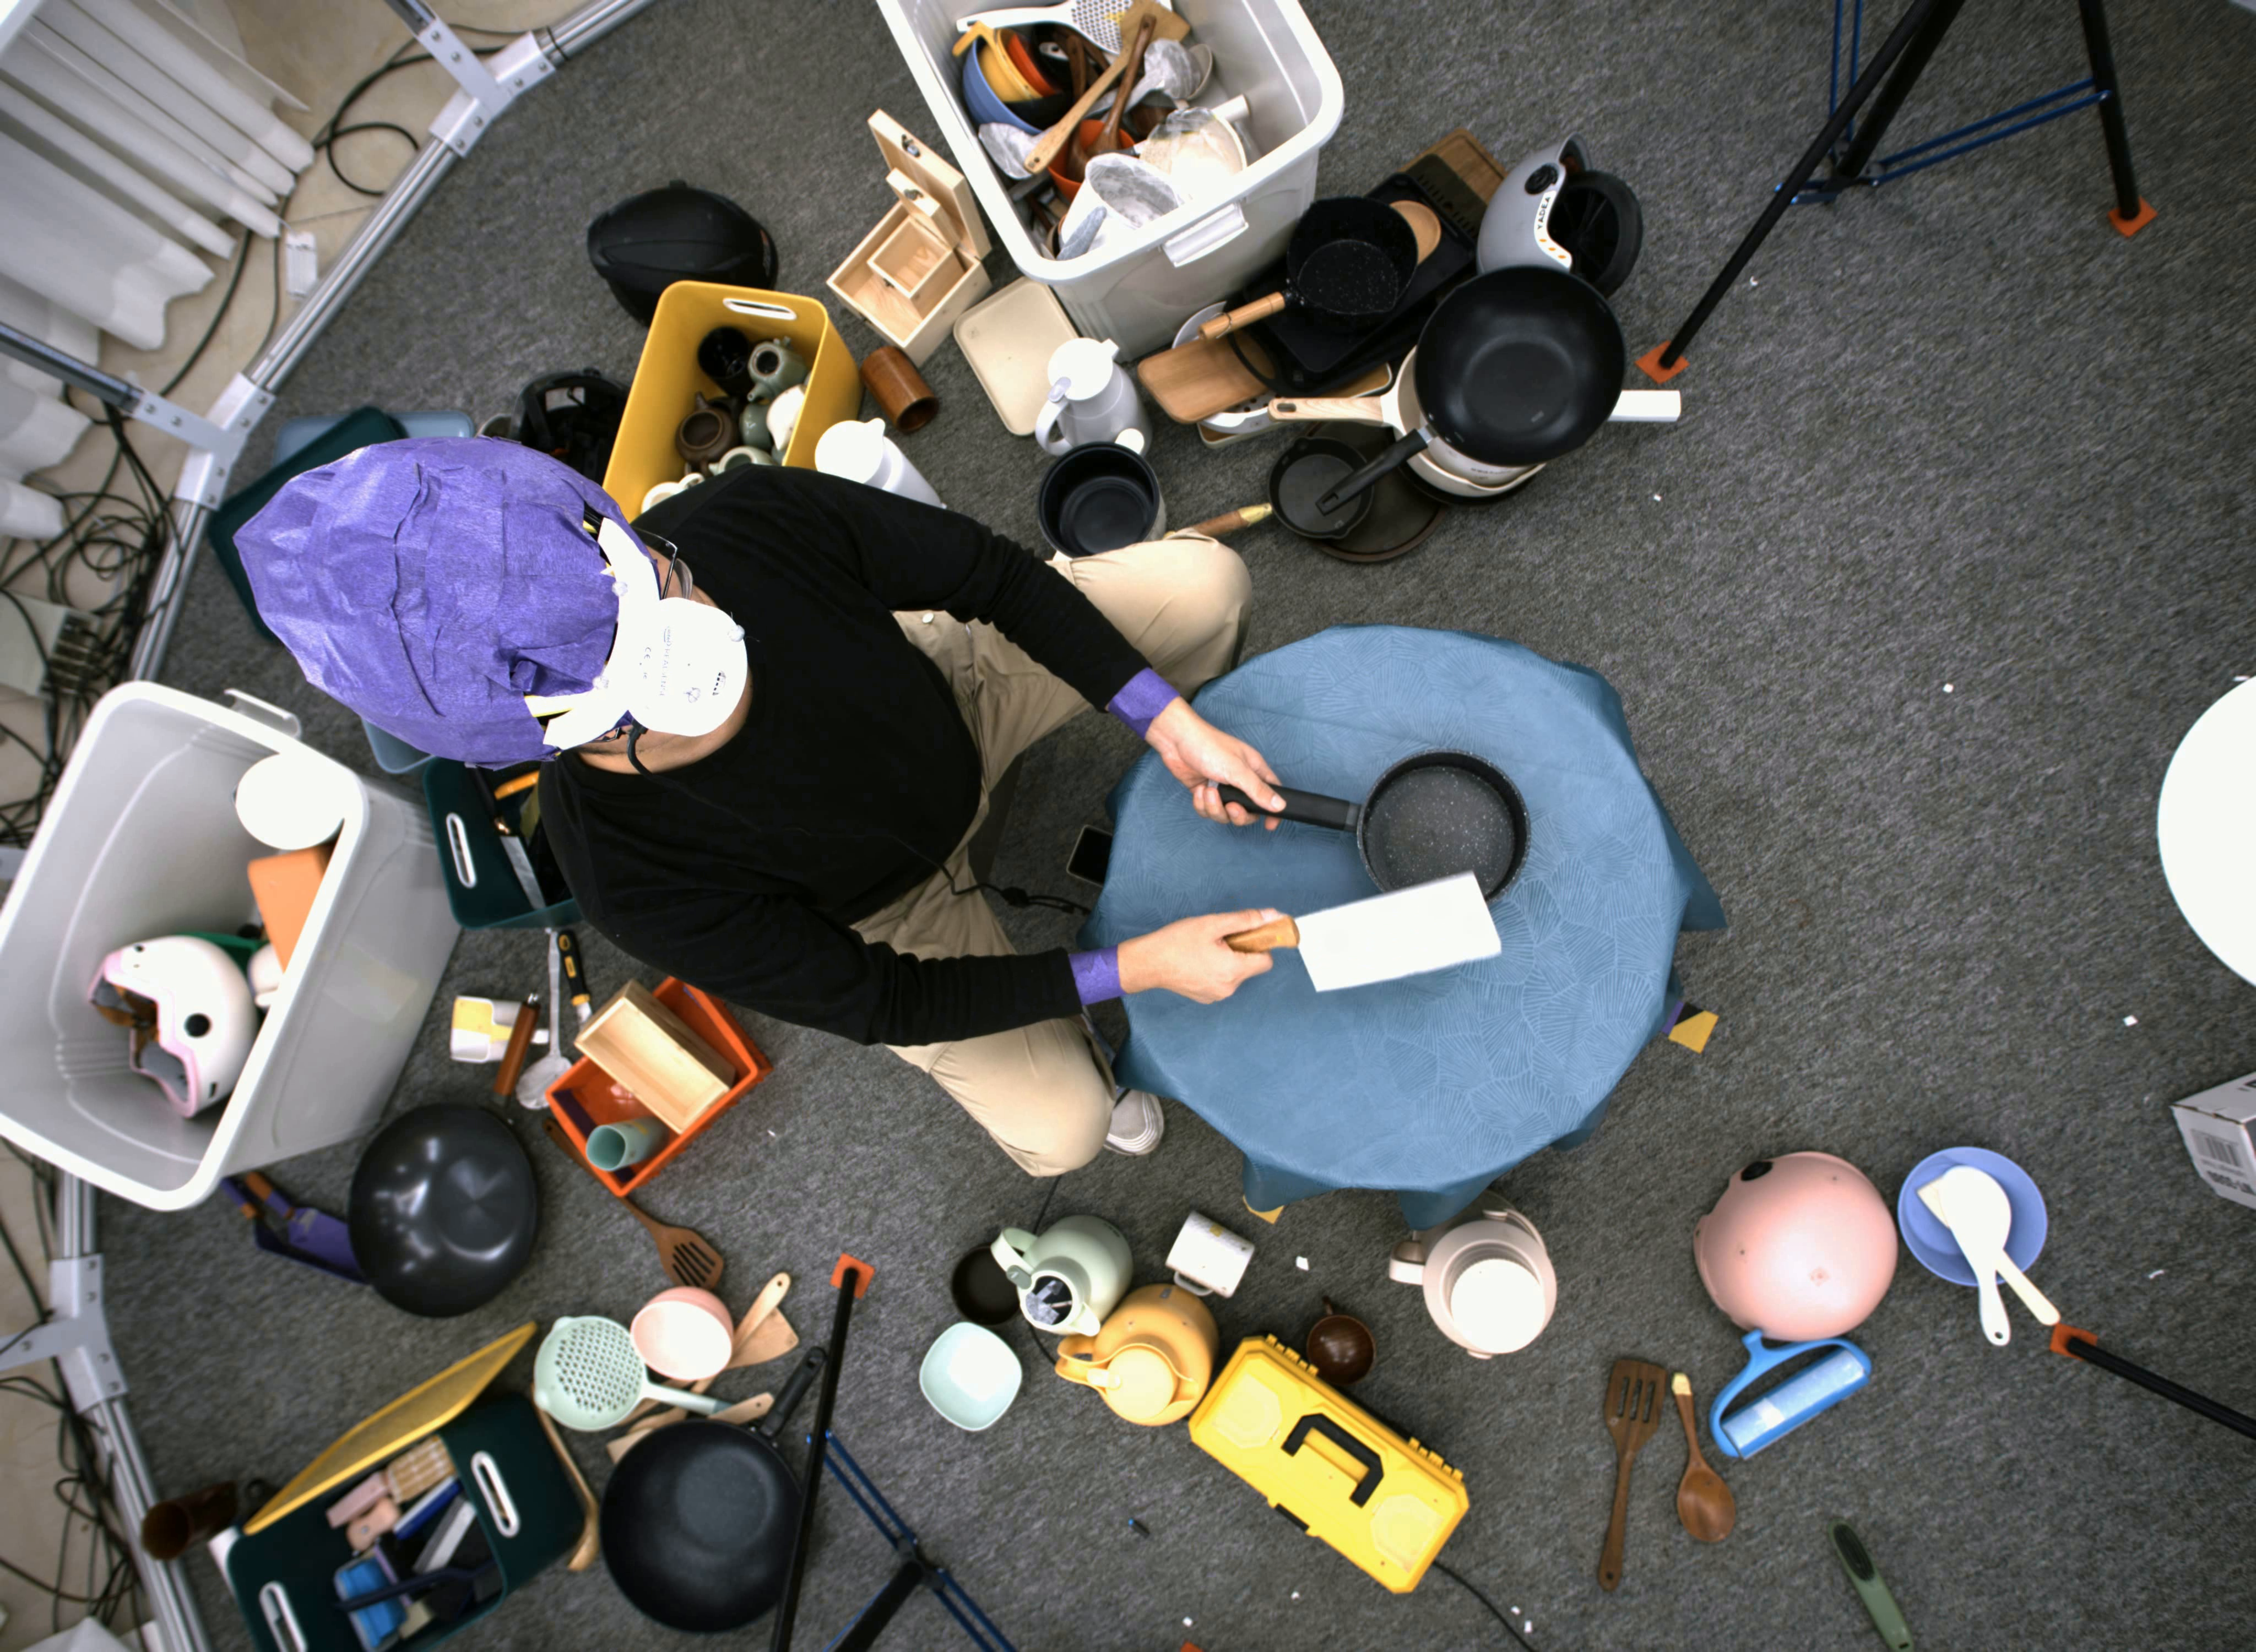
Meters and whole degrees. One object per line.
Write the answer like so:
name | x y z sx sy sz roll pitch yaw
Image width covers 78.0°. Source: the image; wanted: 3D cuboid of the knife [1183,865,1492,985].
knife | 0.205 0.113 1.365 0.309 0.020 0.094 -18 117 25

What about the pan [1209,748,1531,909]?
pan | 0.246 -0.010 1.426 0.329 0.086 0.172 14 89 9
